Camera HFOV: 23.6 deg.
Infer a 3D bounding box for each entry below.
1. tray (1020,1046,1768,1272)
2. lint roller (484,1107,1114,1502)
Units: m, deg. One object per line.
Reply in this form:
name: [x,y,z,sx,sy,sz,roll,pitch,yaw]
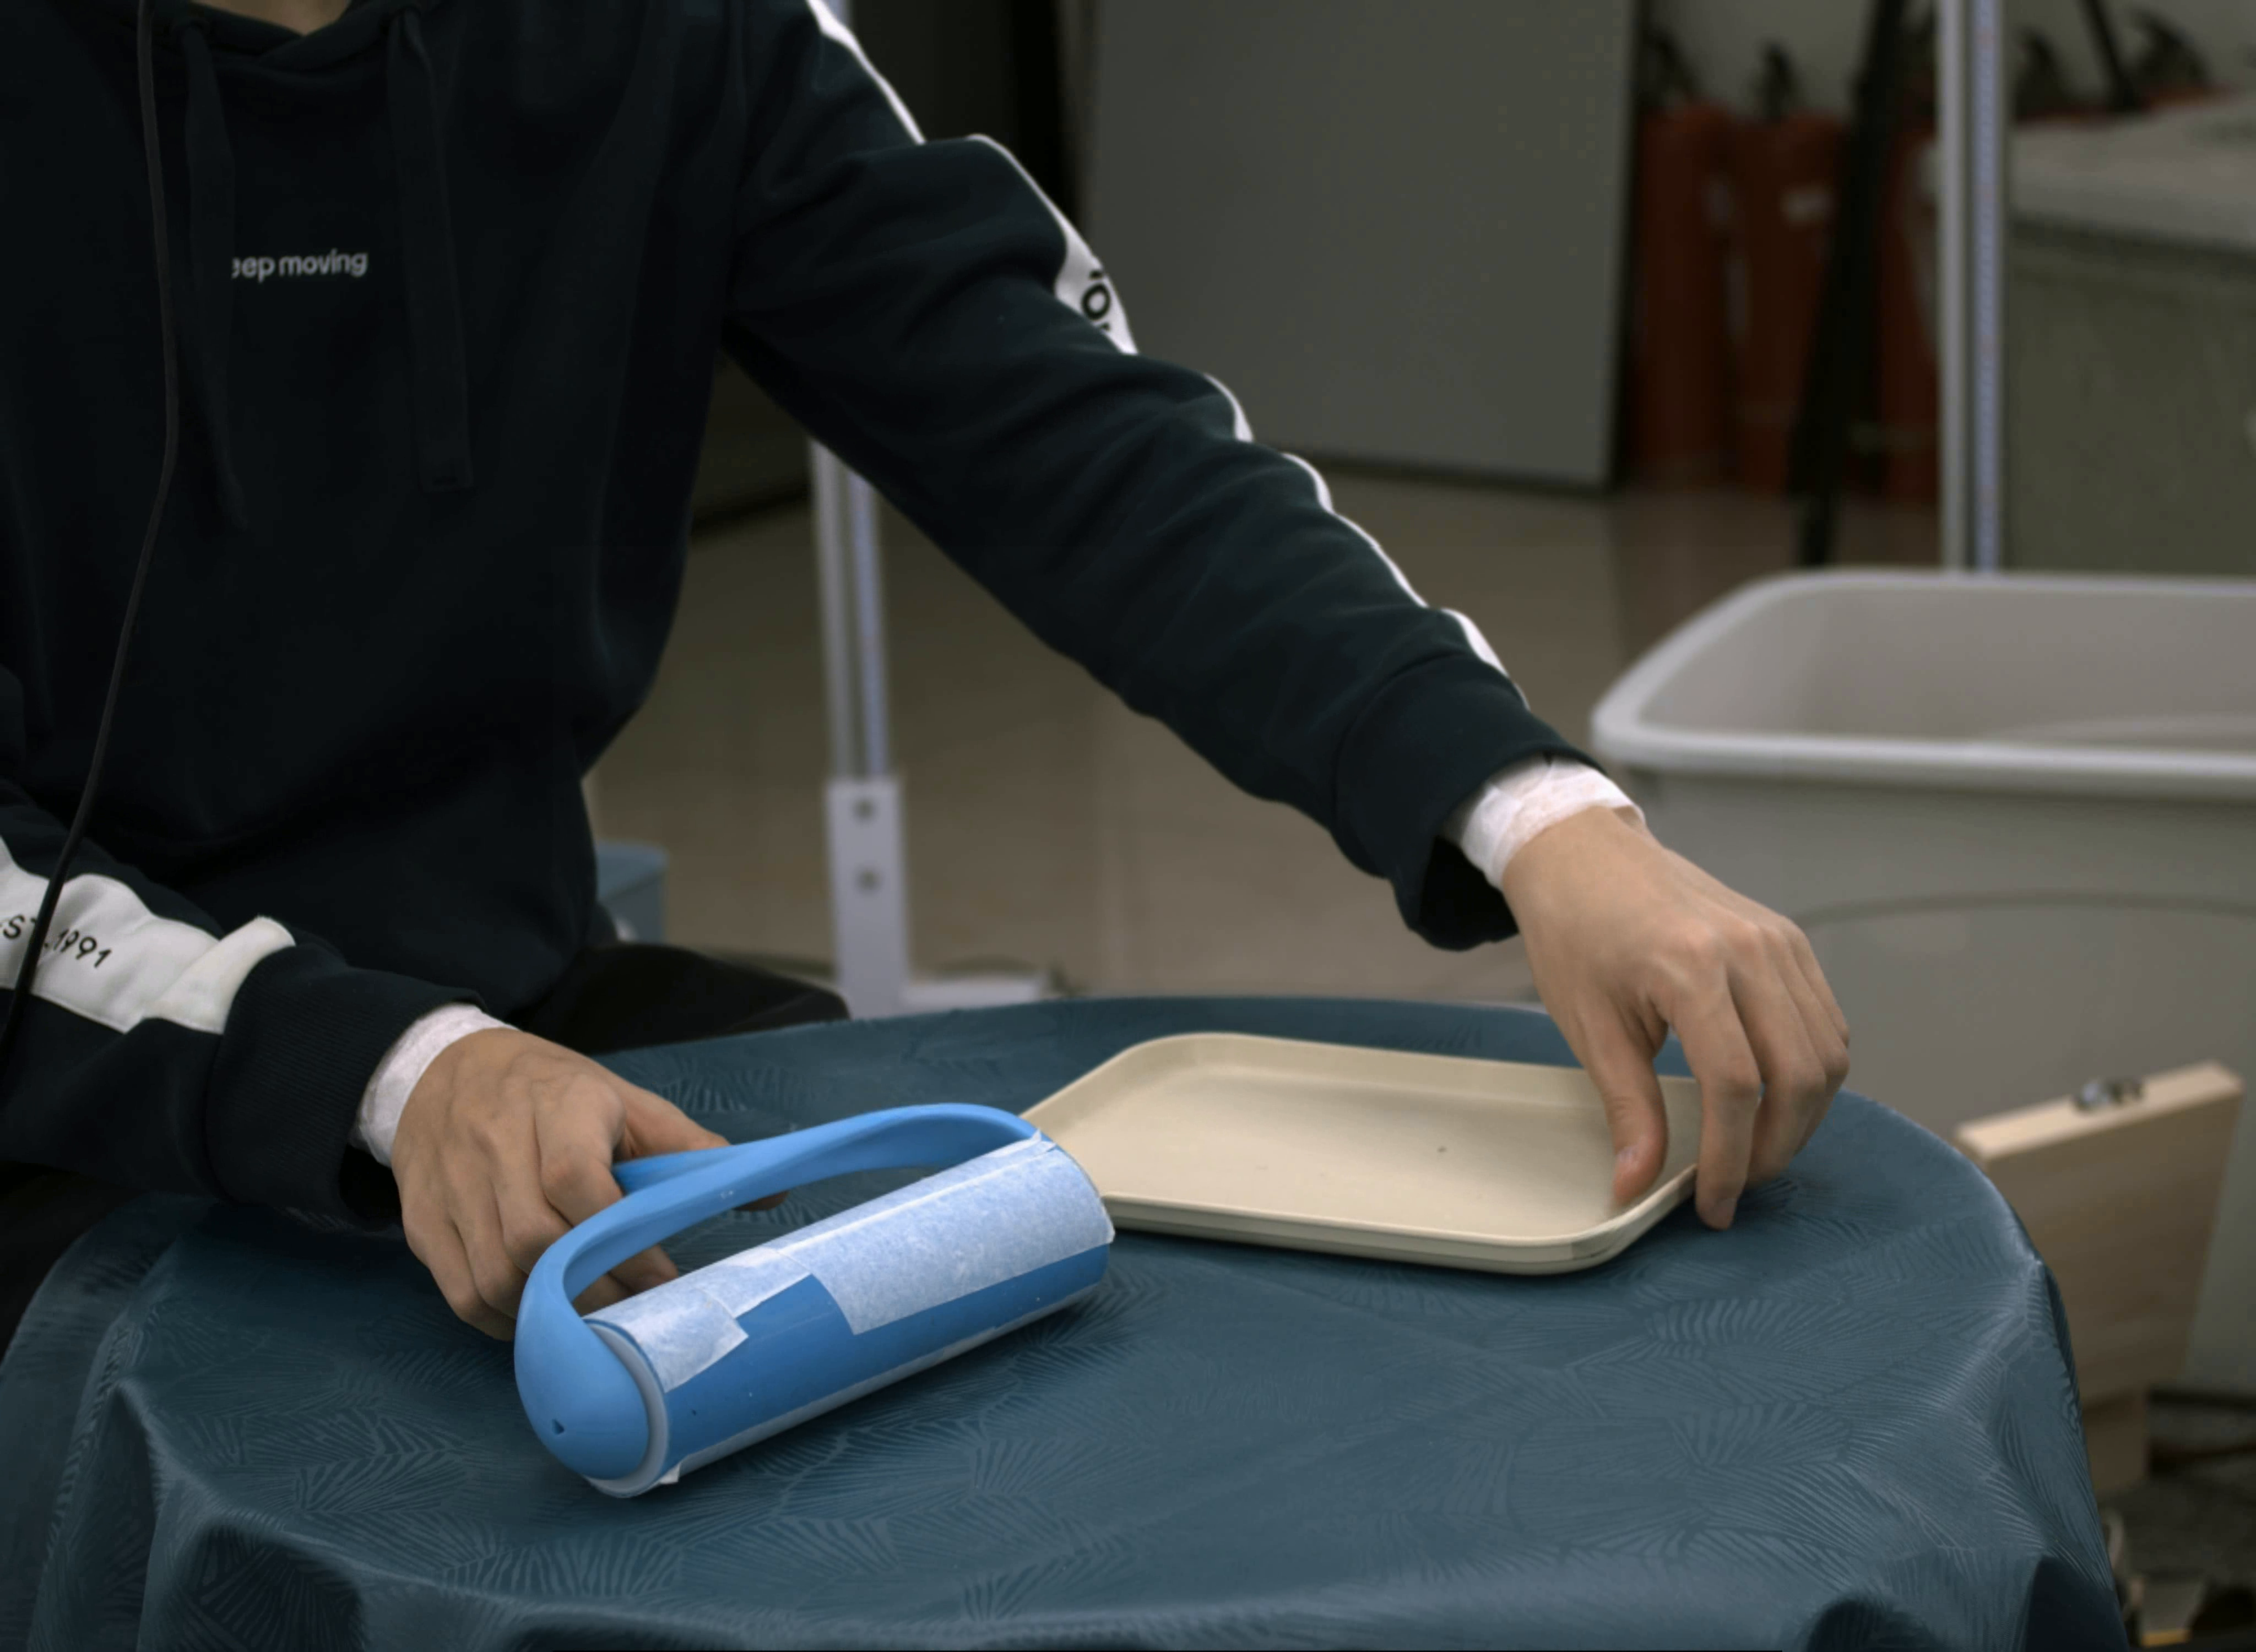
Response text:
tray: [0.079,0.109,1.764,0.240,0.017,0.169,4,15,30]
lint roller: [-0.131,0.133,1.630,0.181,0.068,0.225,12,22,37]
